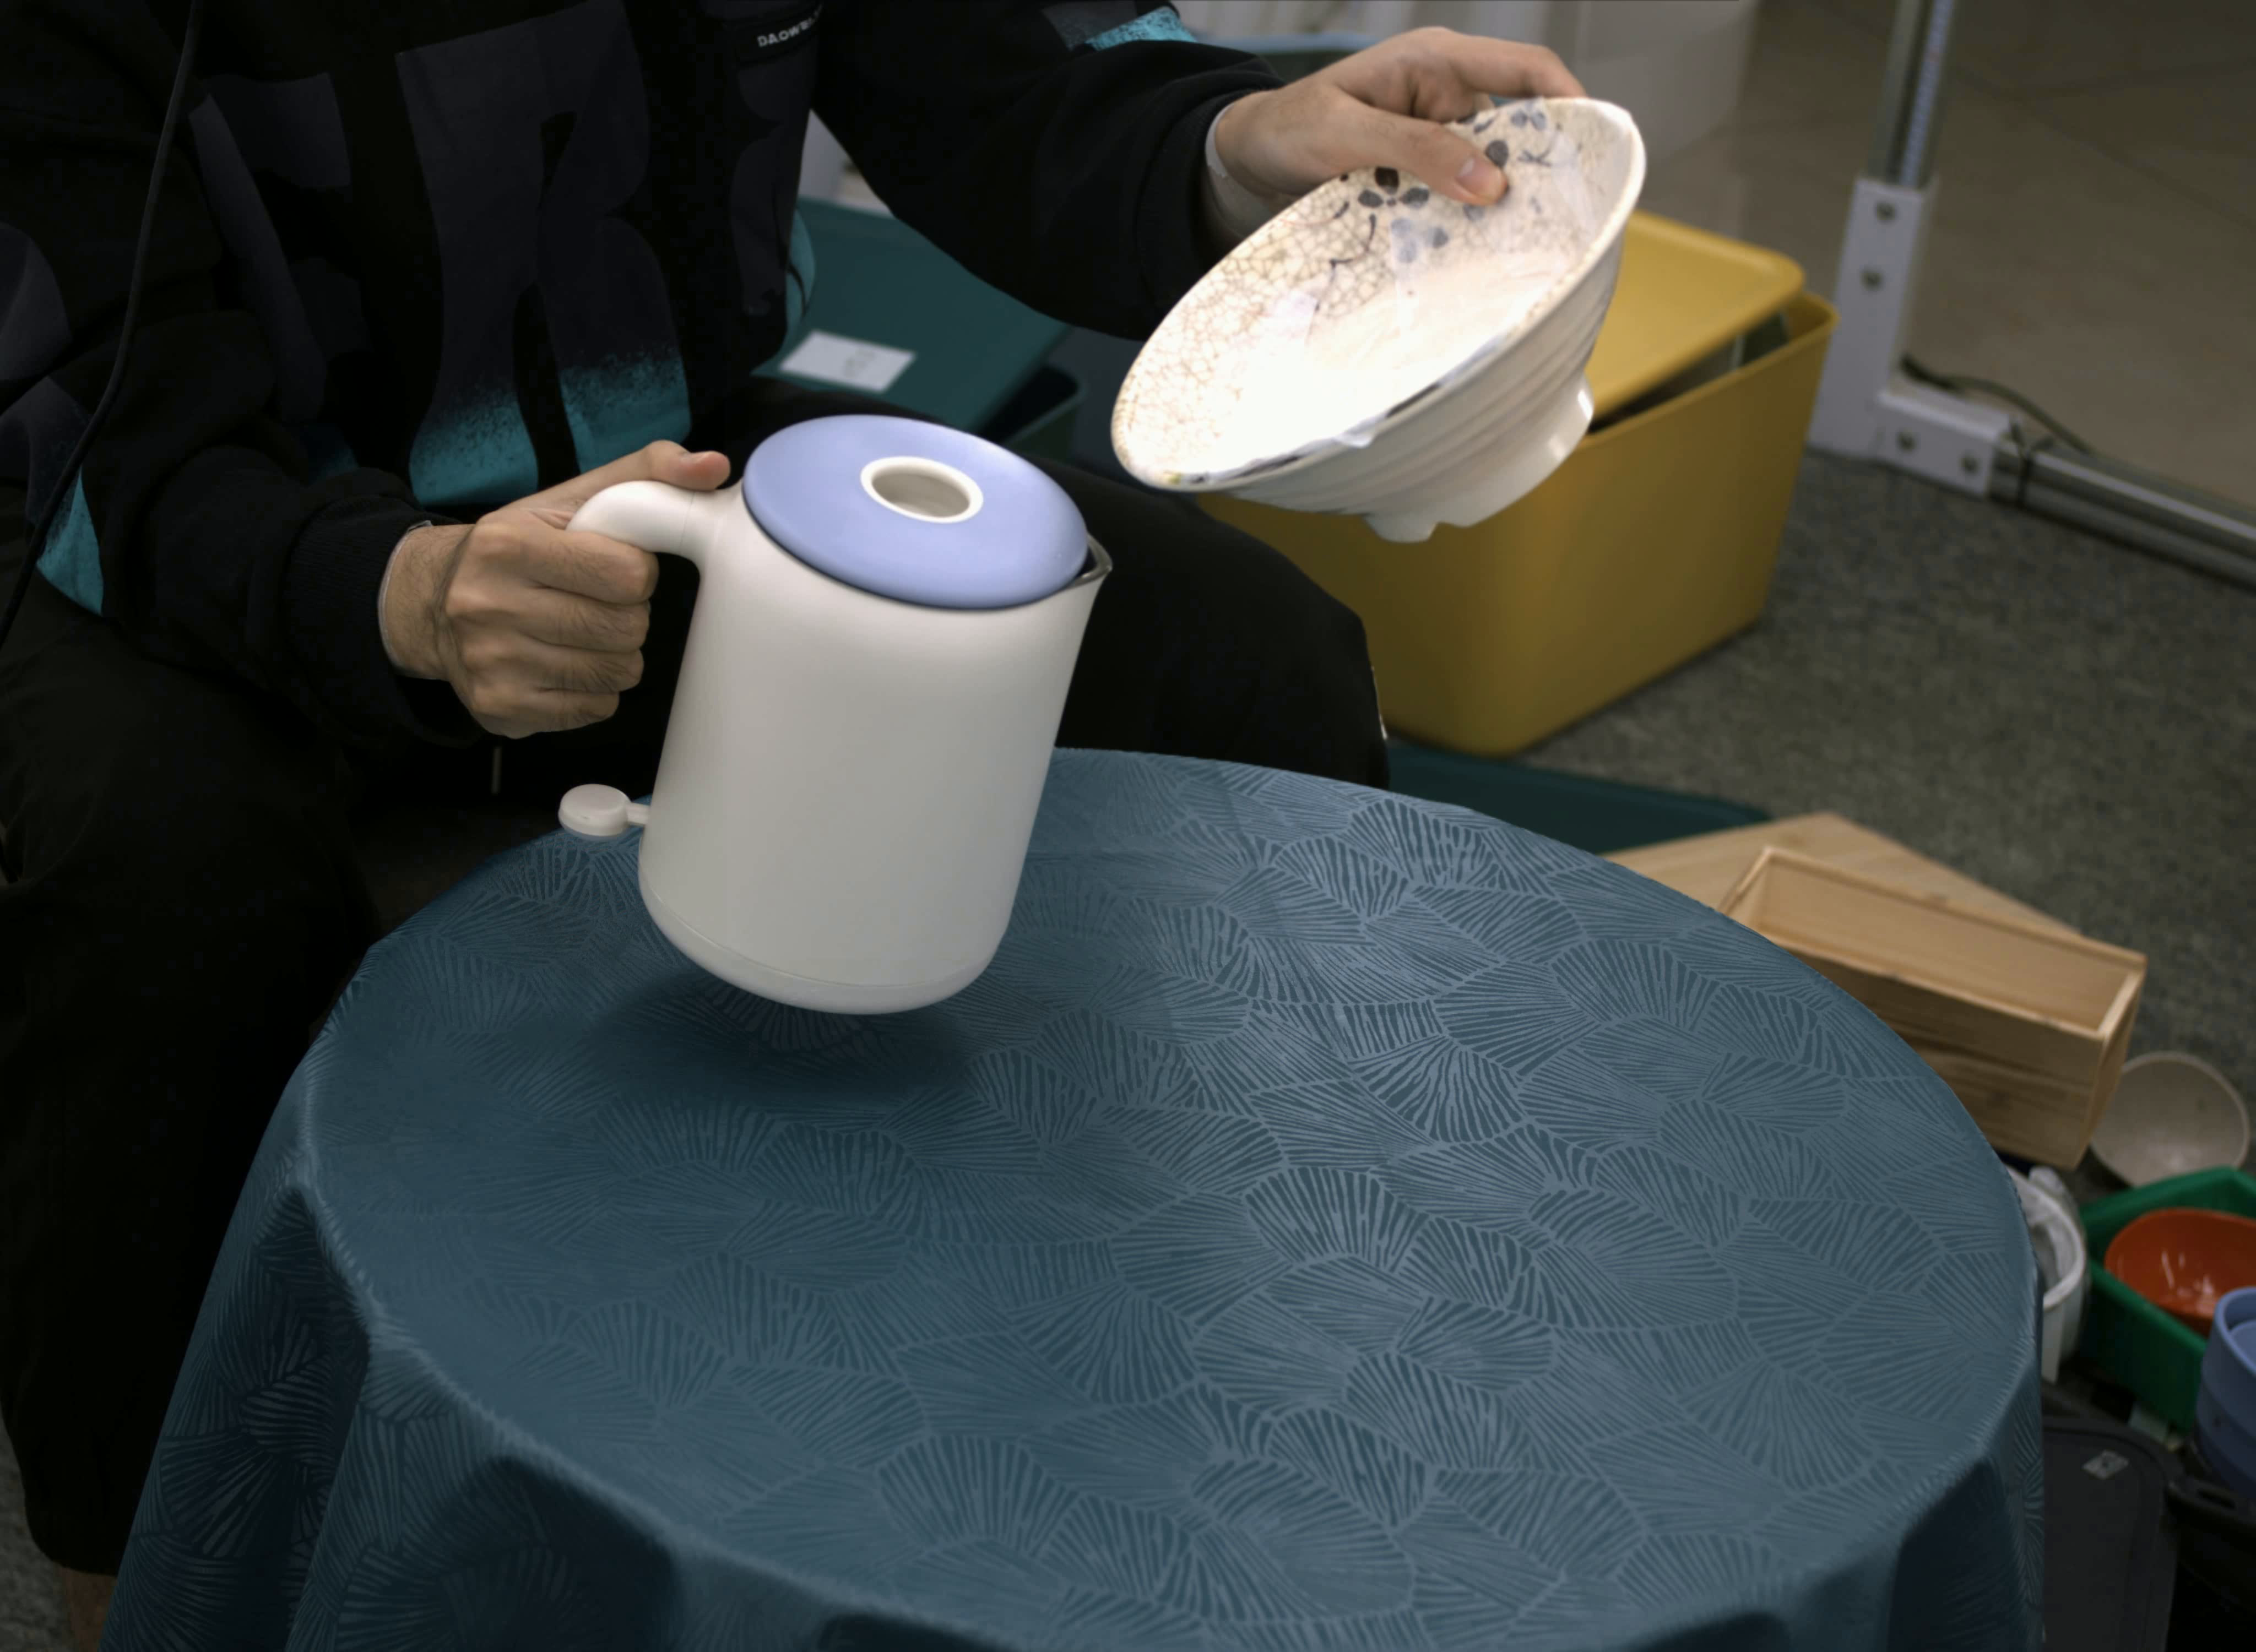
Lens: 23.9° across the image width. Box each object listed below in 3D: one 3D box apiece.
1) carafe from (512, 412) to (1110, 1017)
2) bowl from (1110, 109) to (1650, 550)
[{"bbox_3d":[-0.113,-0.043,1.817,0.190,0.182,0.133,11,29,-2],"label":"carafe"},{"bbox_3d":[0.100,-0.149,1.771,0.204,0.077,0.205,-29,23,13],"label":"bowl"}]
